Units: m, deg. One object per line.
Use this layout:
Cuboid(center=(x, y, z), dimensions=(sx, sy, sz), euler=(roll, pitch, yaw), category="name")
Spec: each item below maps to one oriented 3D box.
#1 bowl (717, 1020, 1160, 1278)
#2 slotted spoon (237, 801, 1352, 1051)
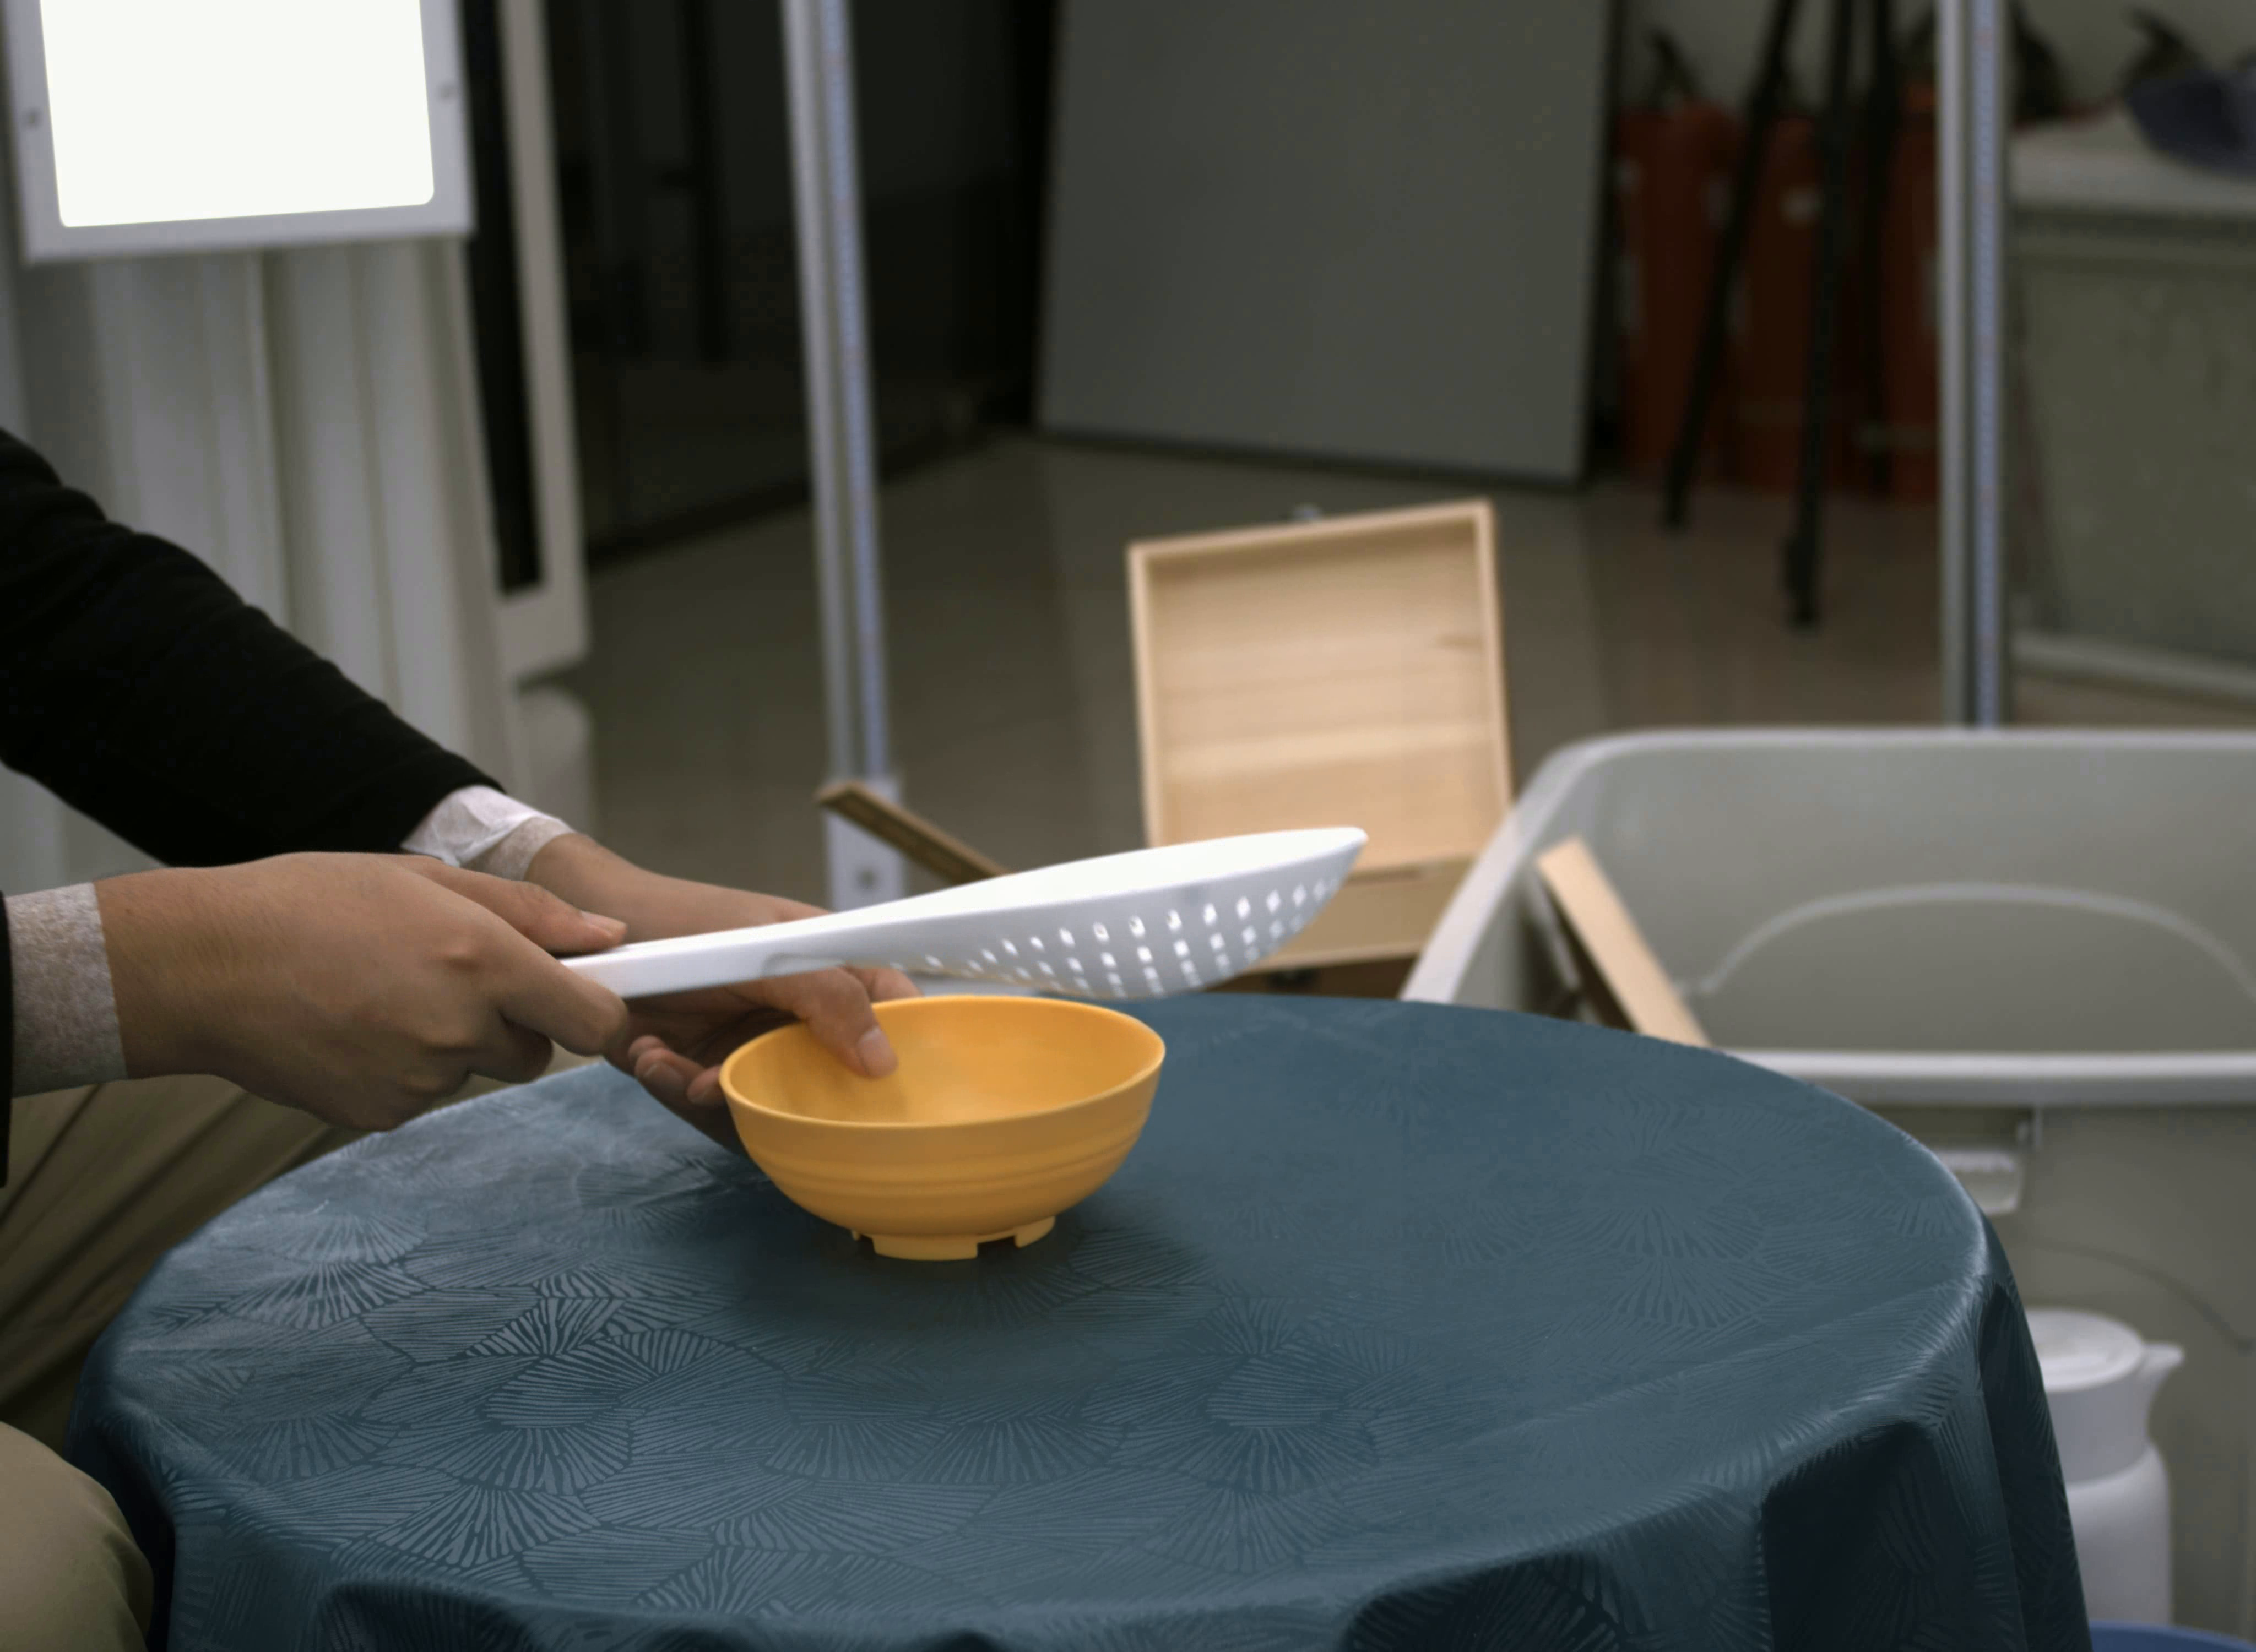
Cuboid(center=(-0.058, 0.108, 1.738), dimensions=(0.143, 0.061, 0.145), euler=(-6, 11, 0), category="bowl")
Cuboid(center=(-0.102, 0.031, 1.646), dimensions=(0.346, 0.046, 0.135), euler=(-5, 2, 5), category="slotted spoon")
